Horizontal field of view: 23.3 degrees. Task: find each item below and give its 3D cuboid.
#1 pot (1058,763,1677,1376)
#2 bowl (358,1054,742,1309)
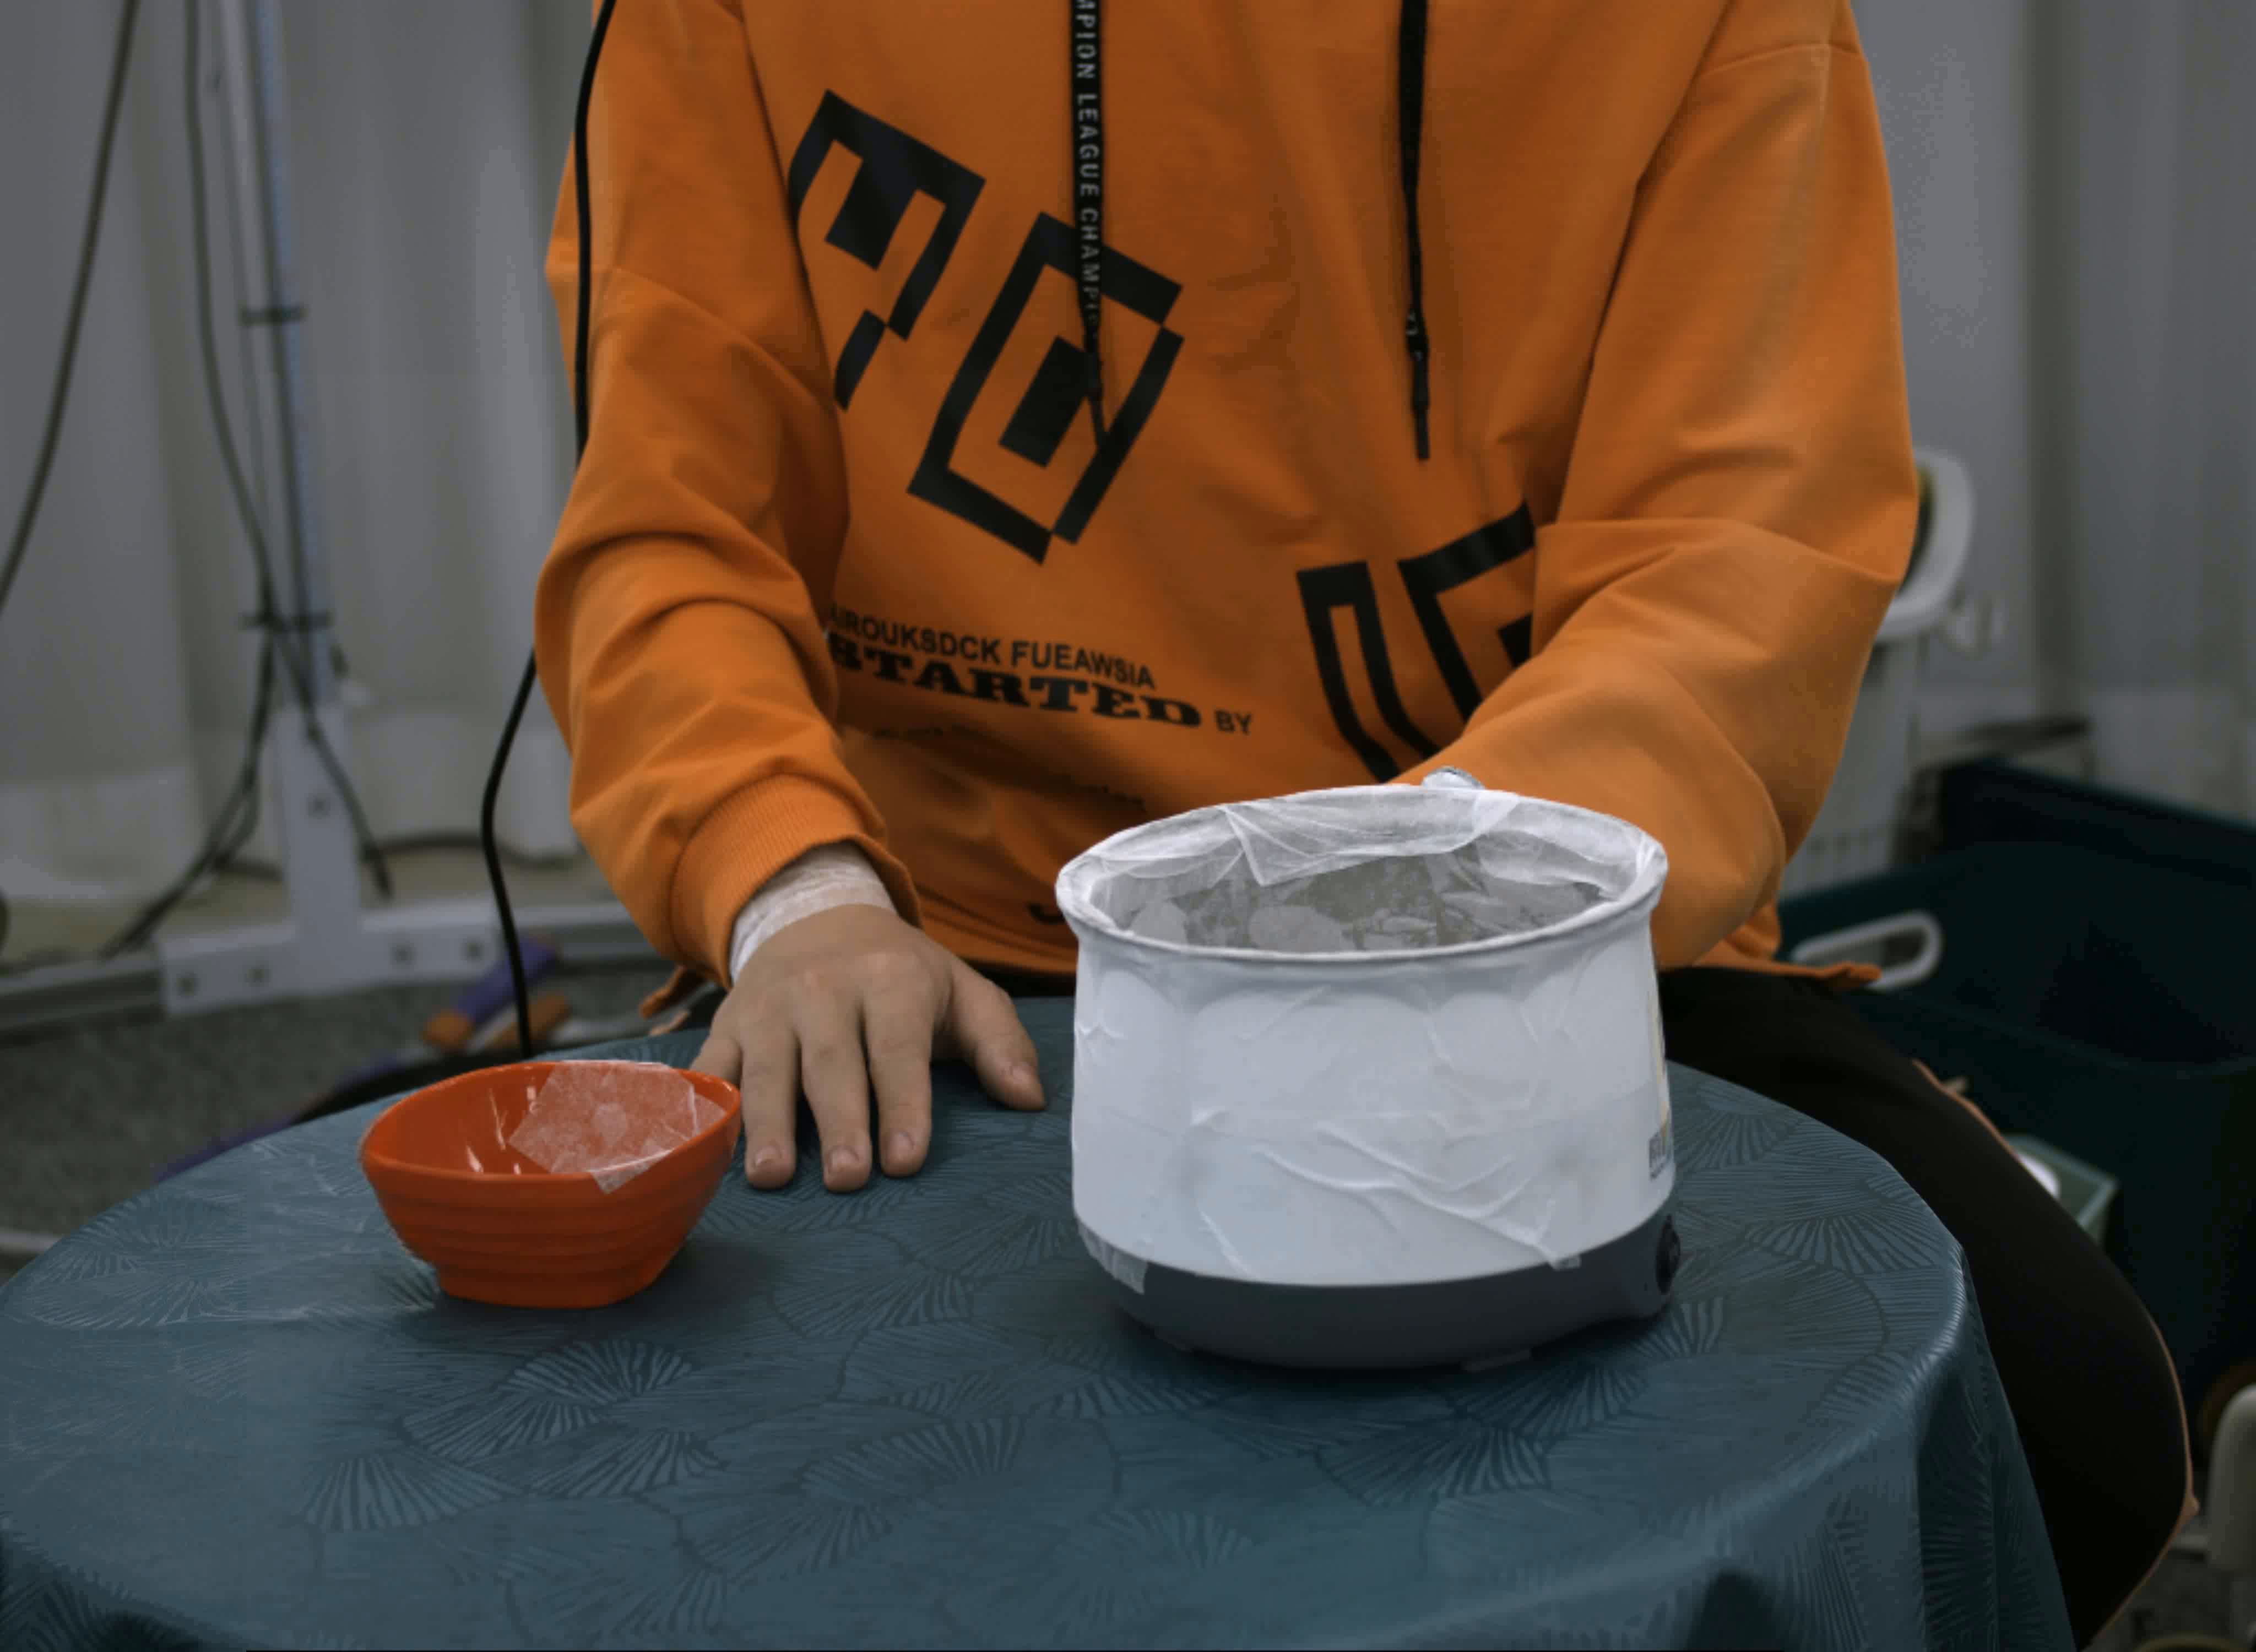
[{"bbox_3d":[0.078,0.066,1.617,0.178,0.136,0.234,2,16,16],"label":"pot"},{"bbox_3d":[-0.173,0.111,1.664,0.118,0.051,0.120,-4,16,1],"label":"bowl"}]
